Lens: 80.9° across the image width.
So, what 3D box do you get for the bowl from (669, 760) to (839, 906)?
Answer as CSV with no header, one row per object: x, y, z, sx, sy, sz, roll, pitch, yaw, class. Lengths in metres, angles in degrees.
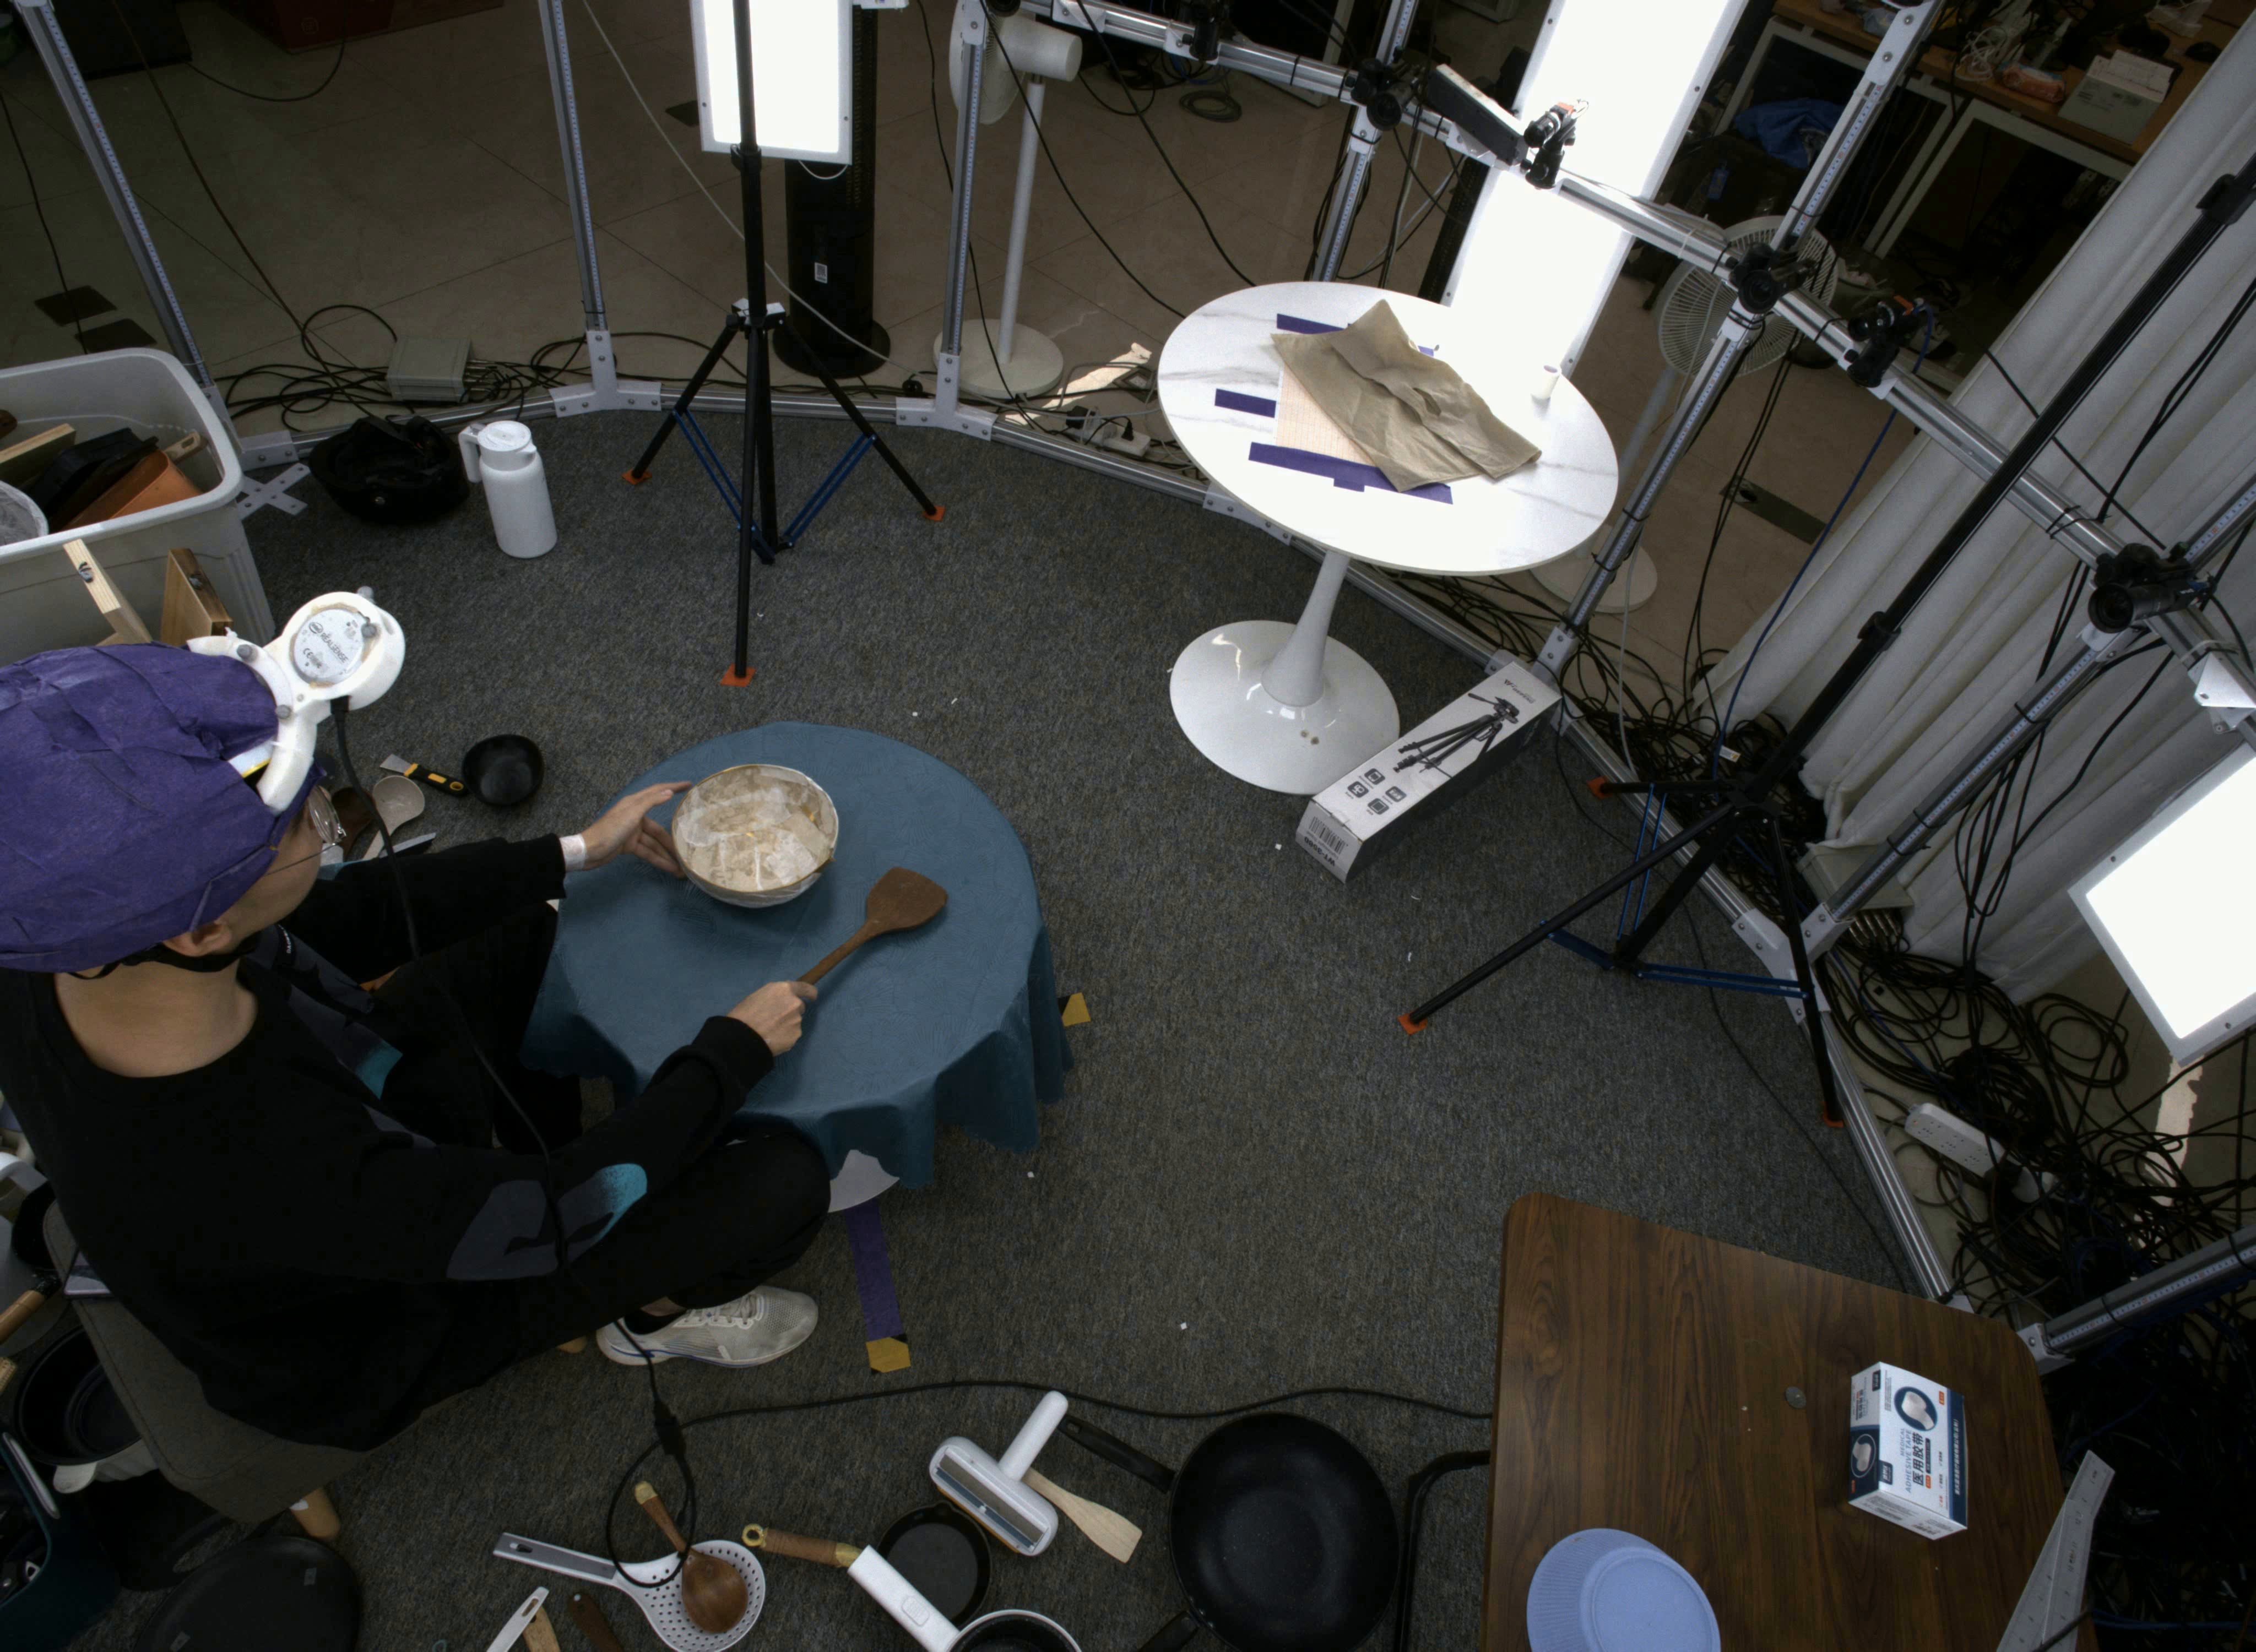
-0.472,0.023,1.639,0.214,0.096,0.211,8,54,-9,bowl

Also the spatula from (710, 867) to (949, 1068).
-0.362,0.166,1.572,0.094,0.016,0.386,31,44,16,spatula
